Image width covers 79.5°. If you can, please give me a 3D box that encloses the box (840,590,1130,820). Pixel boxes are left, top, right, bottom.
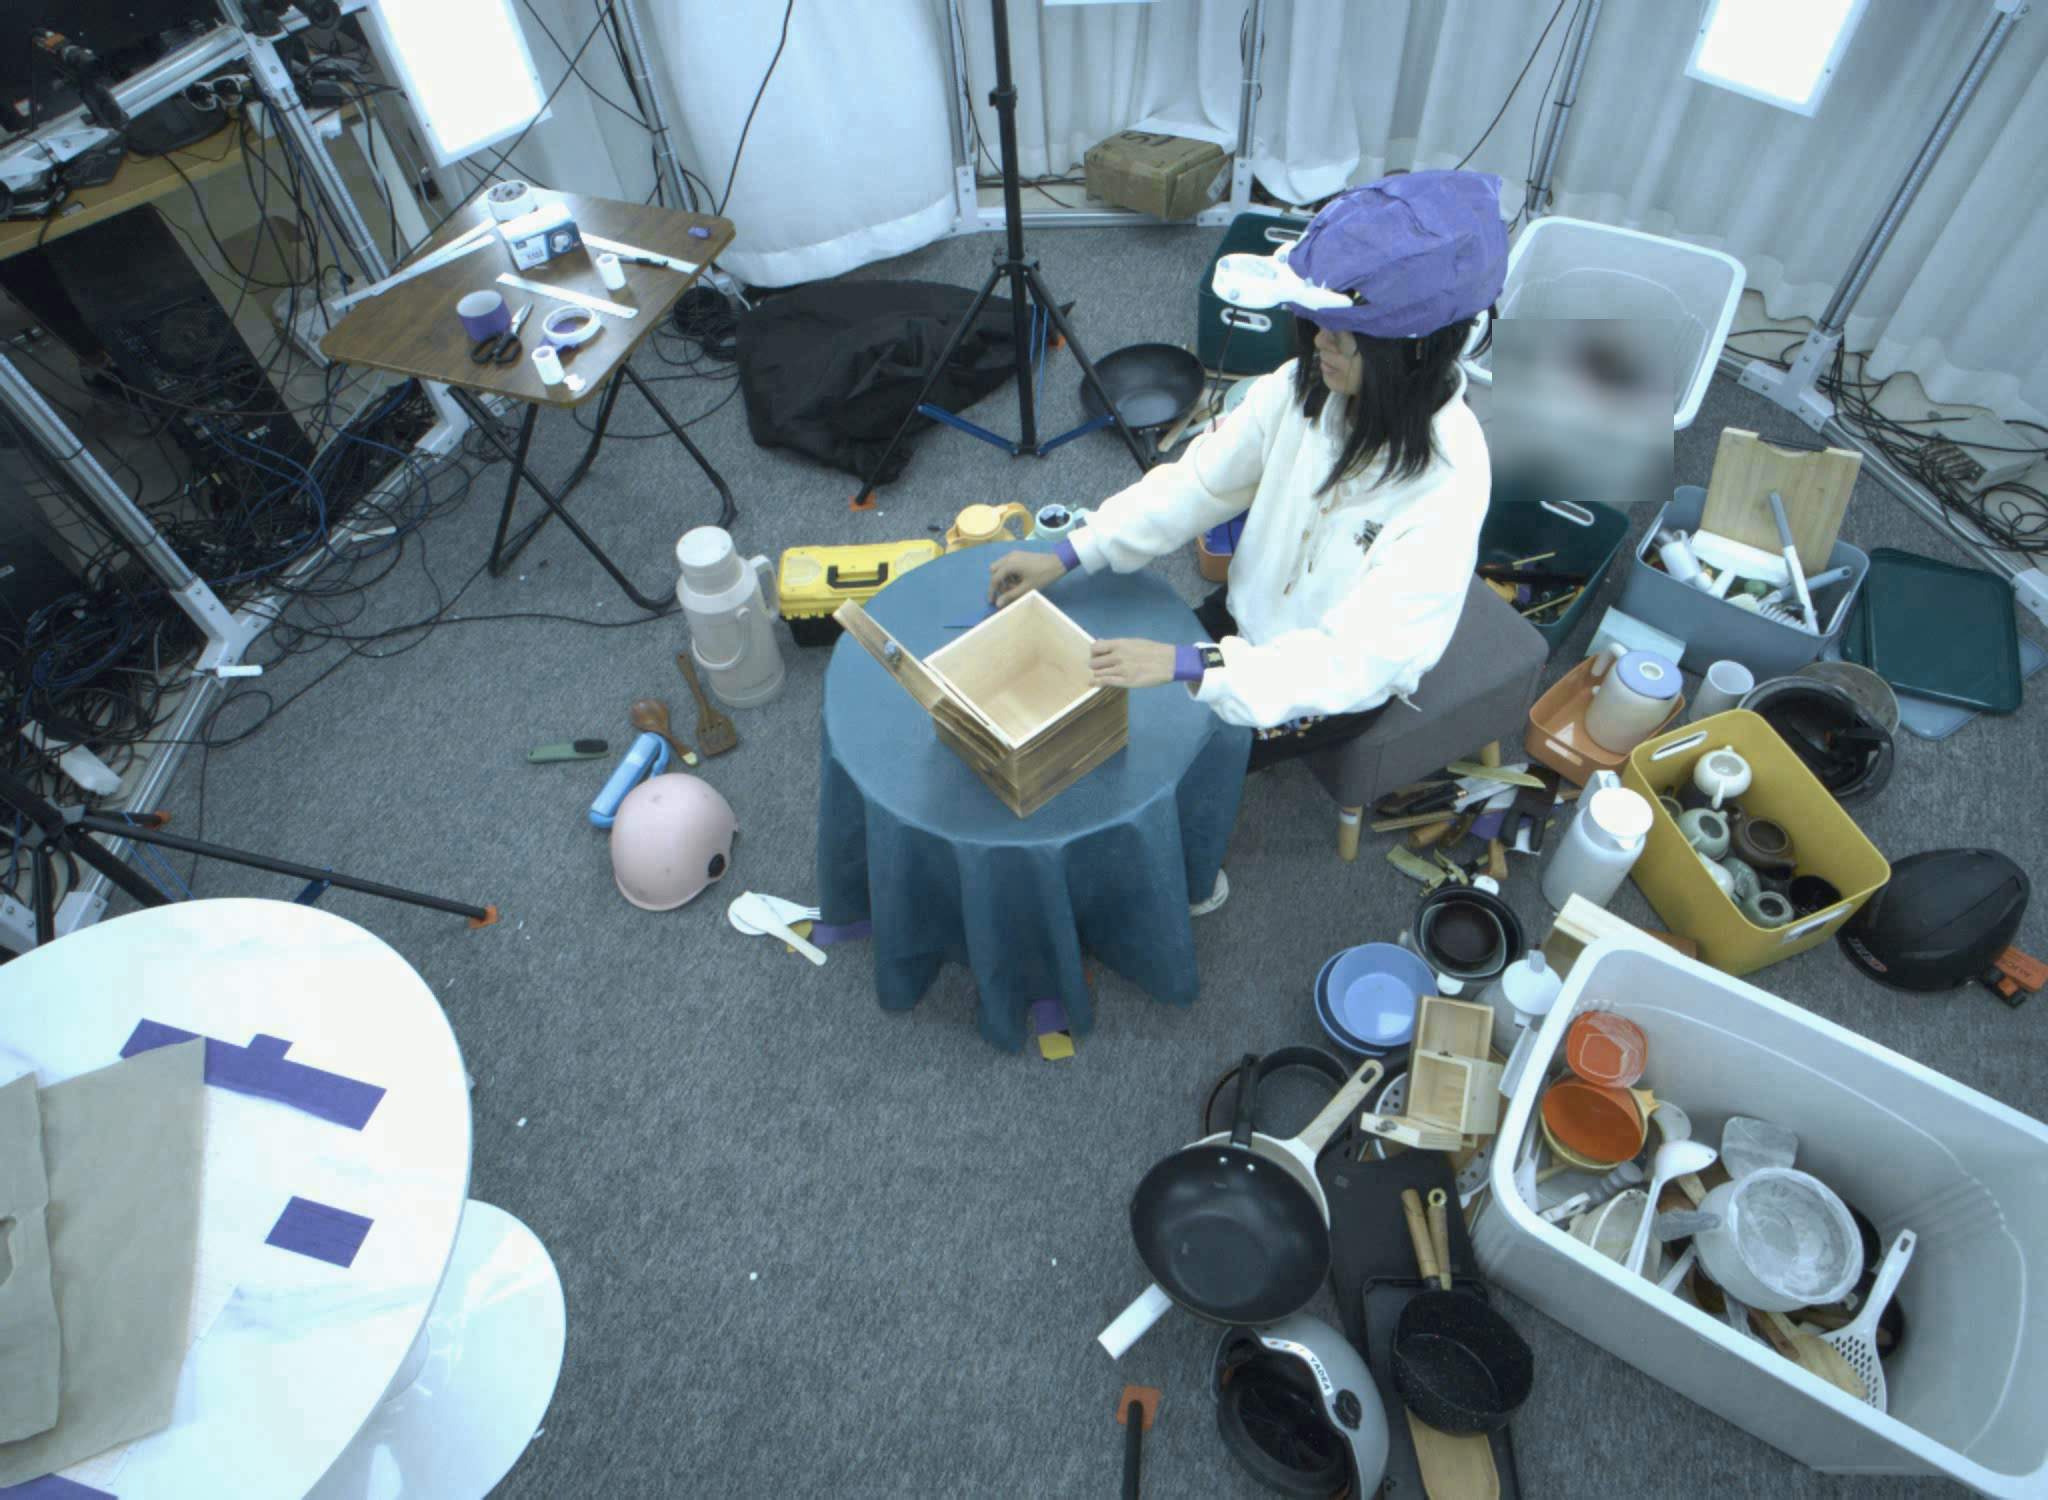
[{"bbox_3d":[-0.040,-0.089,1.634,0.324,0.380,0.205,-37,61,-19],"label":"box"}]

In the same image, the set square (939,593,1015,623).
[{"bbox_3d":[-0.068,-0.227,1.946,0.132,0.006,0.060,3,59,4],"label":"set square"}]
